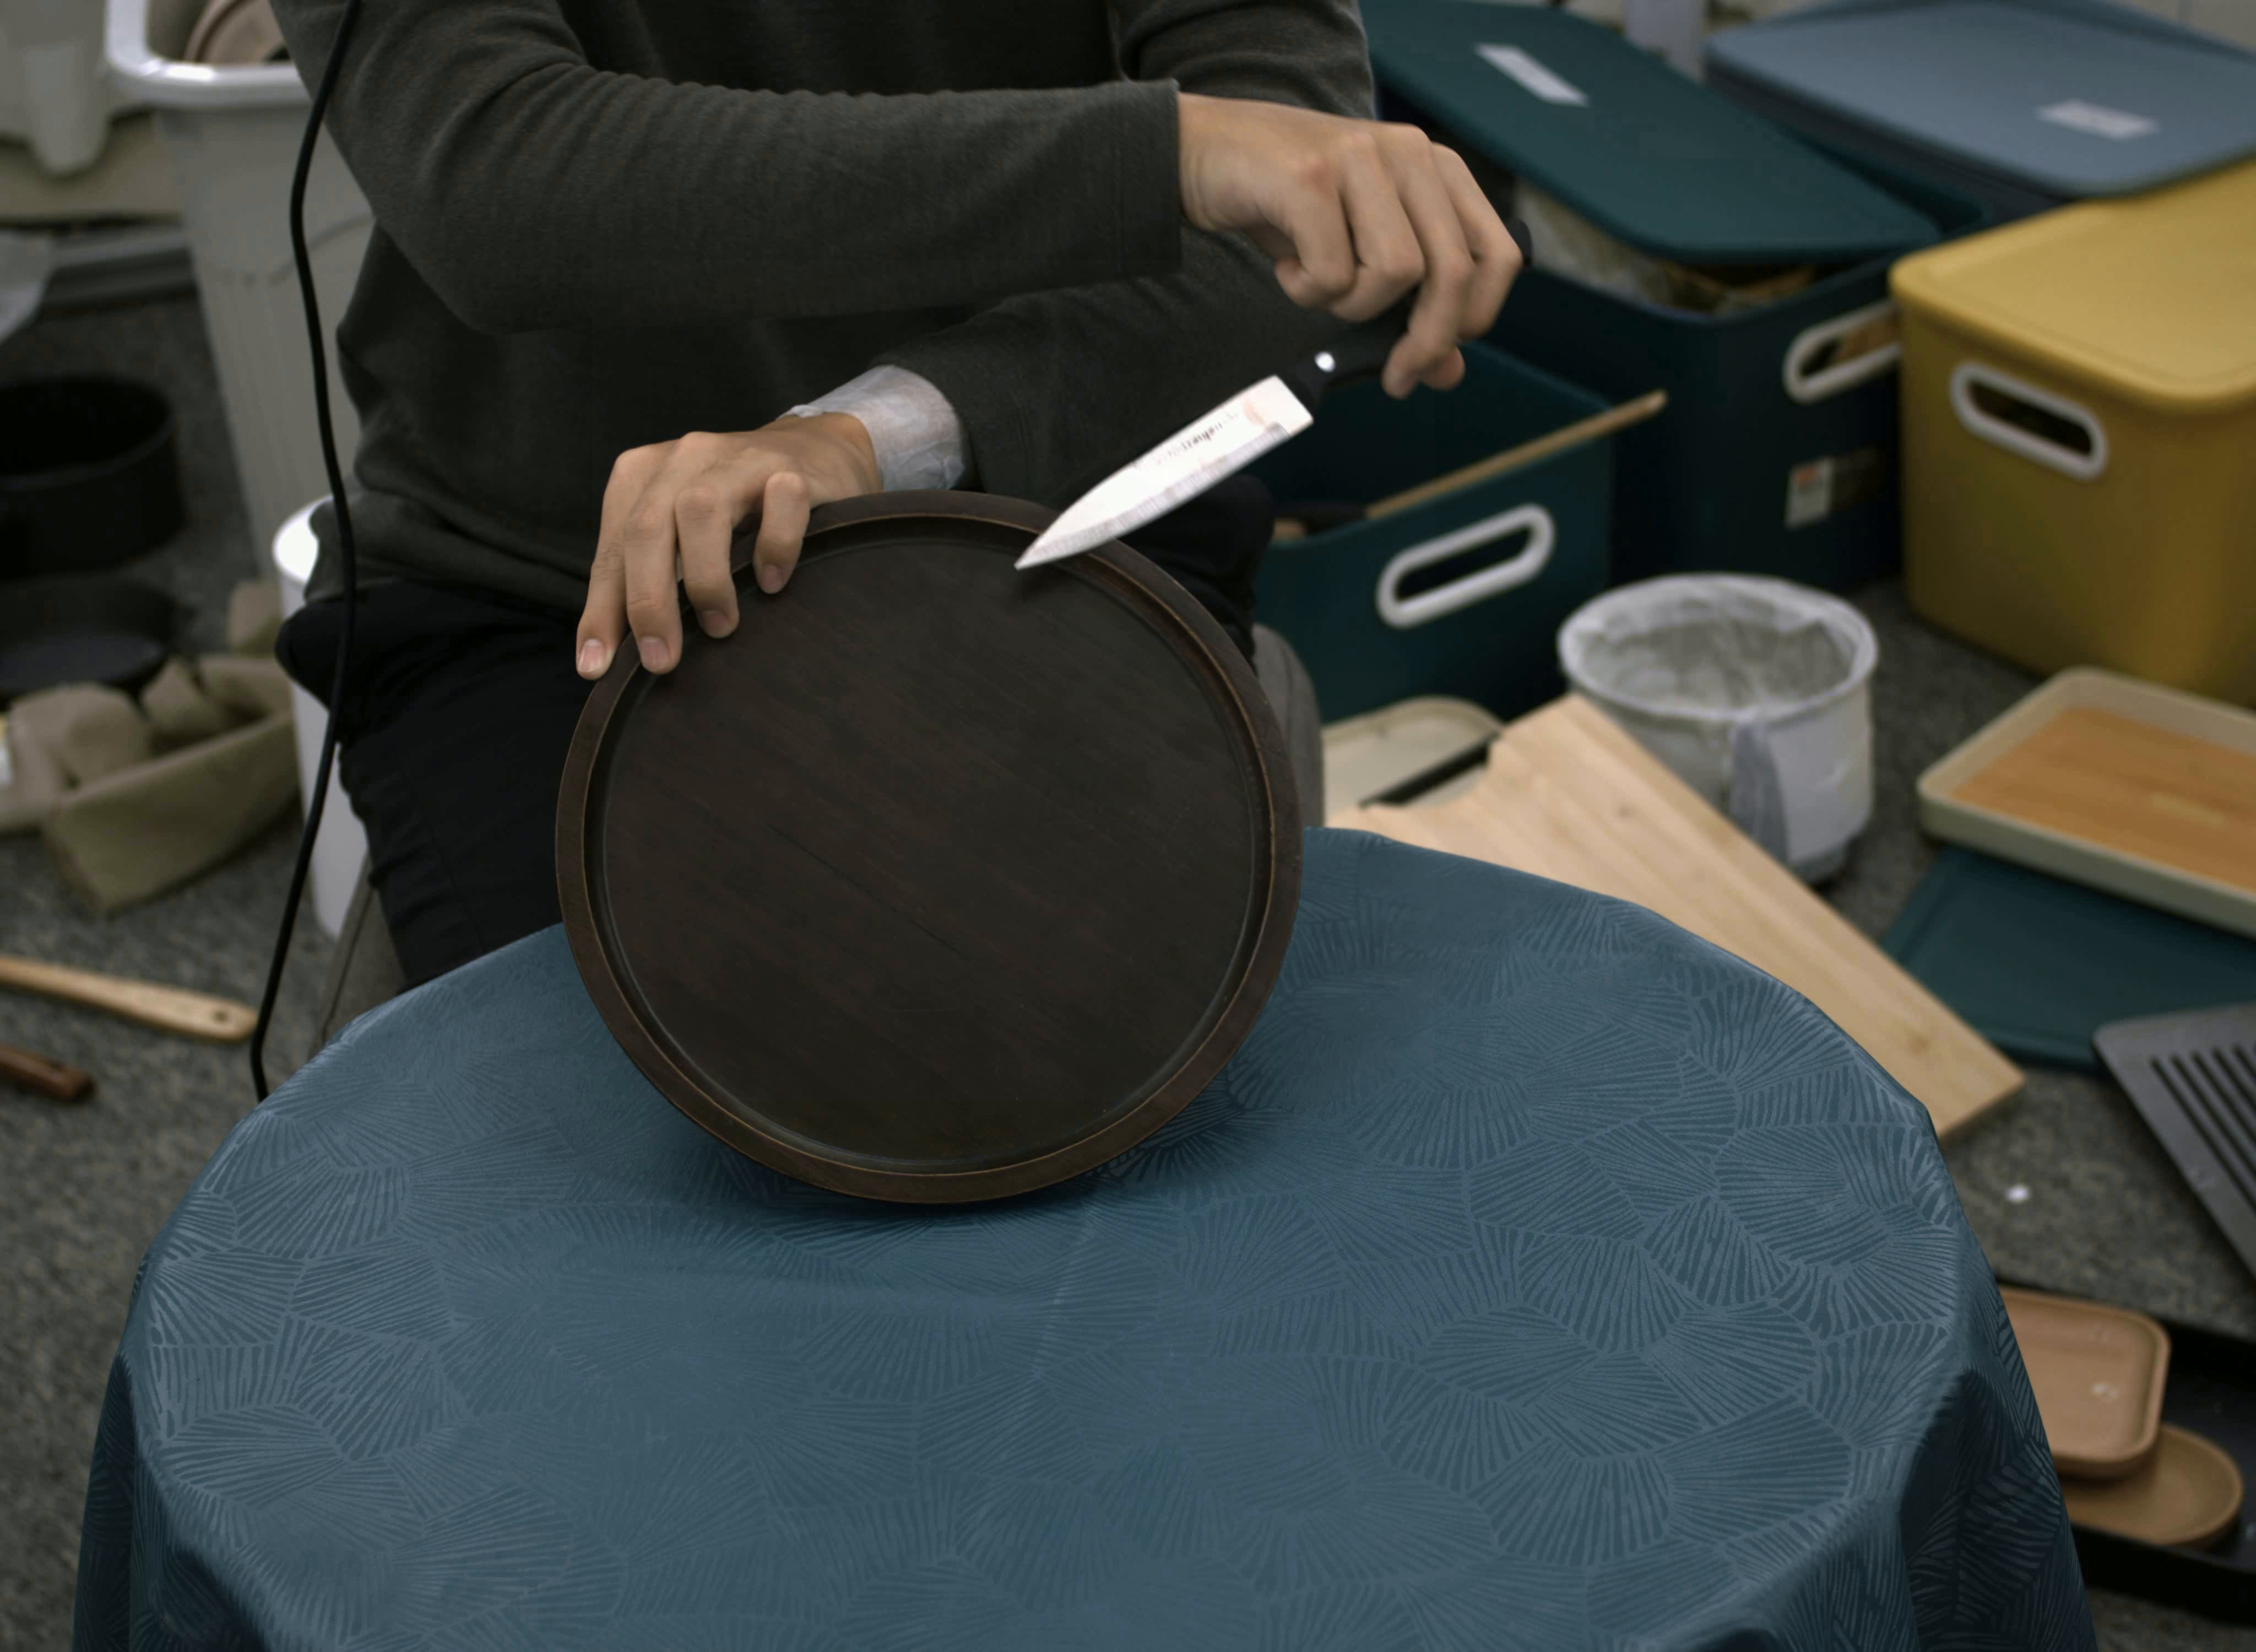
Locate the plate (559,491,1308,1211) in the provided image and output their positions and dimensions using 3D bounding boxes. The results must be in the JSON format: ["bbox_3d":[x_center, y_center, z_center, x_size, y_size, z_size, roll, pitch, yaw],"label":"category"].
[{"bbox_3d":[-0.066,0.008,1.898,0.254,0.028,0.259,2,70,-5],"label":"plate"}]

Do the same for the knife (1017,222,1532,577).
[{"bbox_3d":[0.050,-0.150,1.968,0.241,0.024,0.016,-35,-5,-25],"label":"knife"}]
